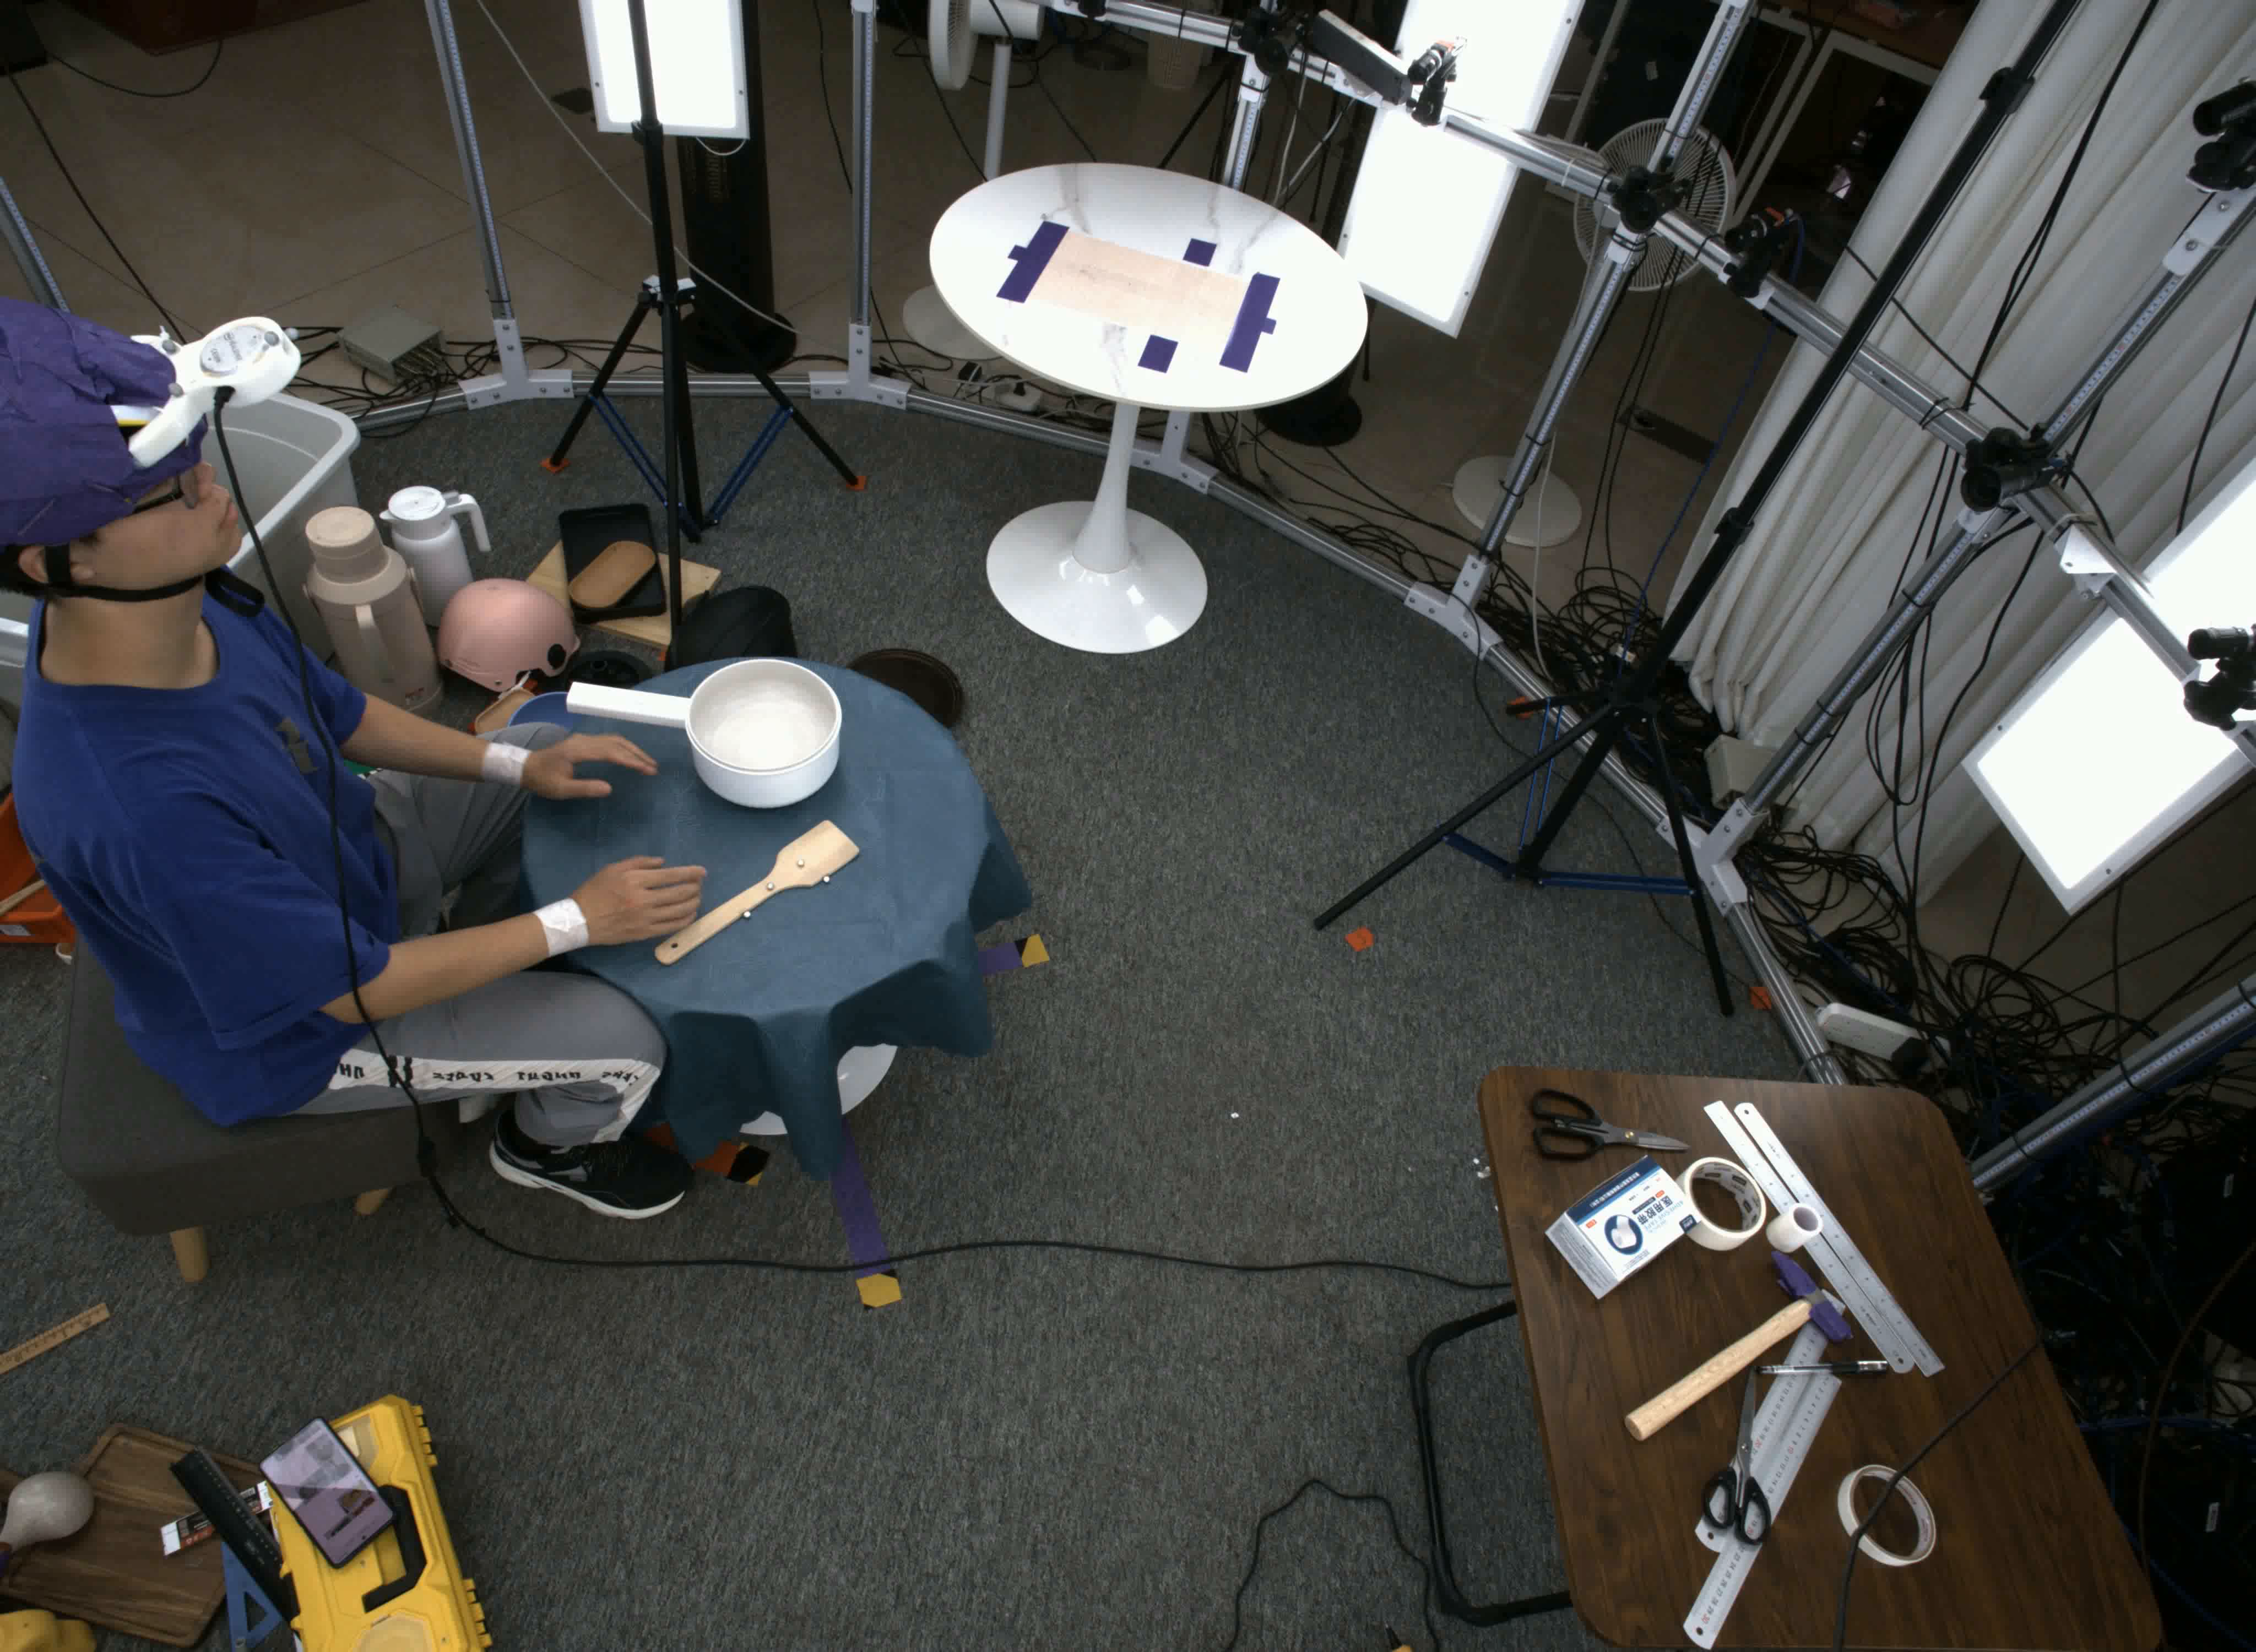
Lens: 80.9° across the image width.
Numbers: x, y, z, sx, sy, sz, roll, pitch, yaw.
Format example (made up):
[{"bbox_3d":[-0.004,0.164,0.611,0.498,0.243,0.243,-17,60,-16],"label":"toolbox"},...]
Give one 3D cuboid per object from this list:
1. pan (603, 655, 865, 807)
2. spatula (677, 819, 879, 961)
[{"bbox_3d":[-0.533,-0.134,1.744,0.354,0.104,0.198,8,54,-8],"label":"pan"},{"bbox_3d":[-0.450,0.085,1.659,0.071,0.011,0.293,43,56,16],"label":"spatula"}]
